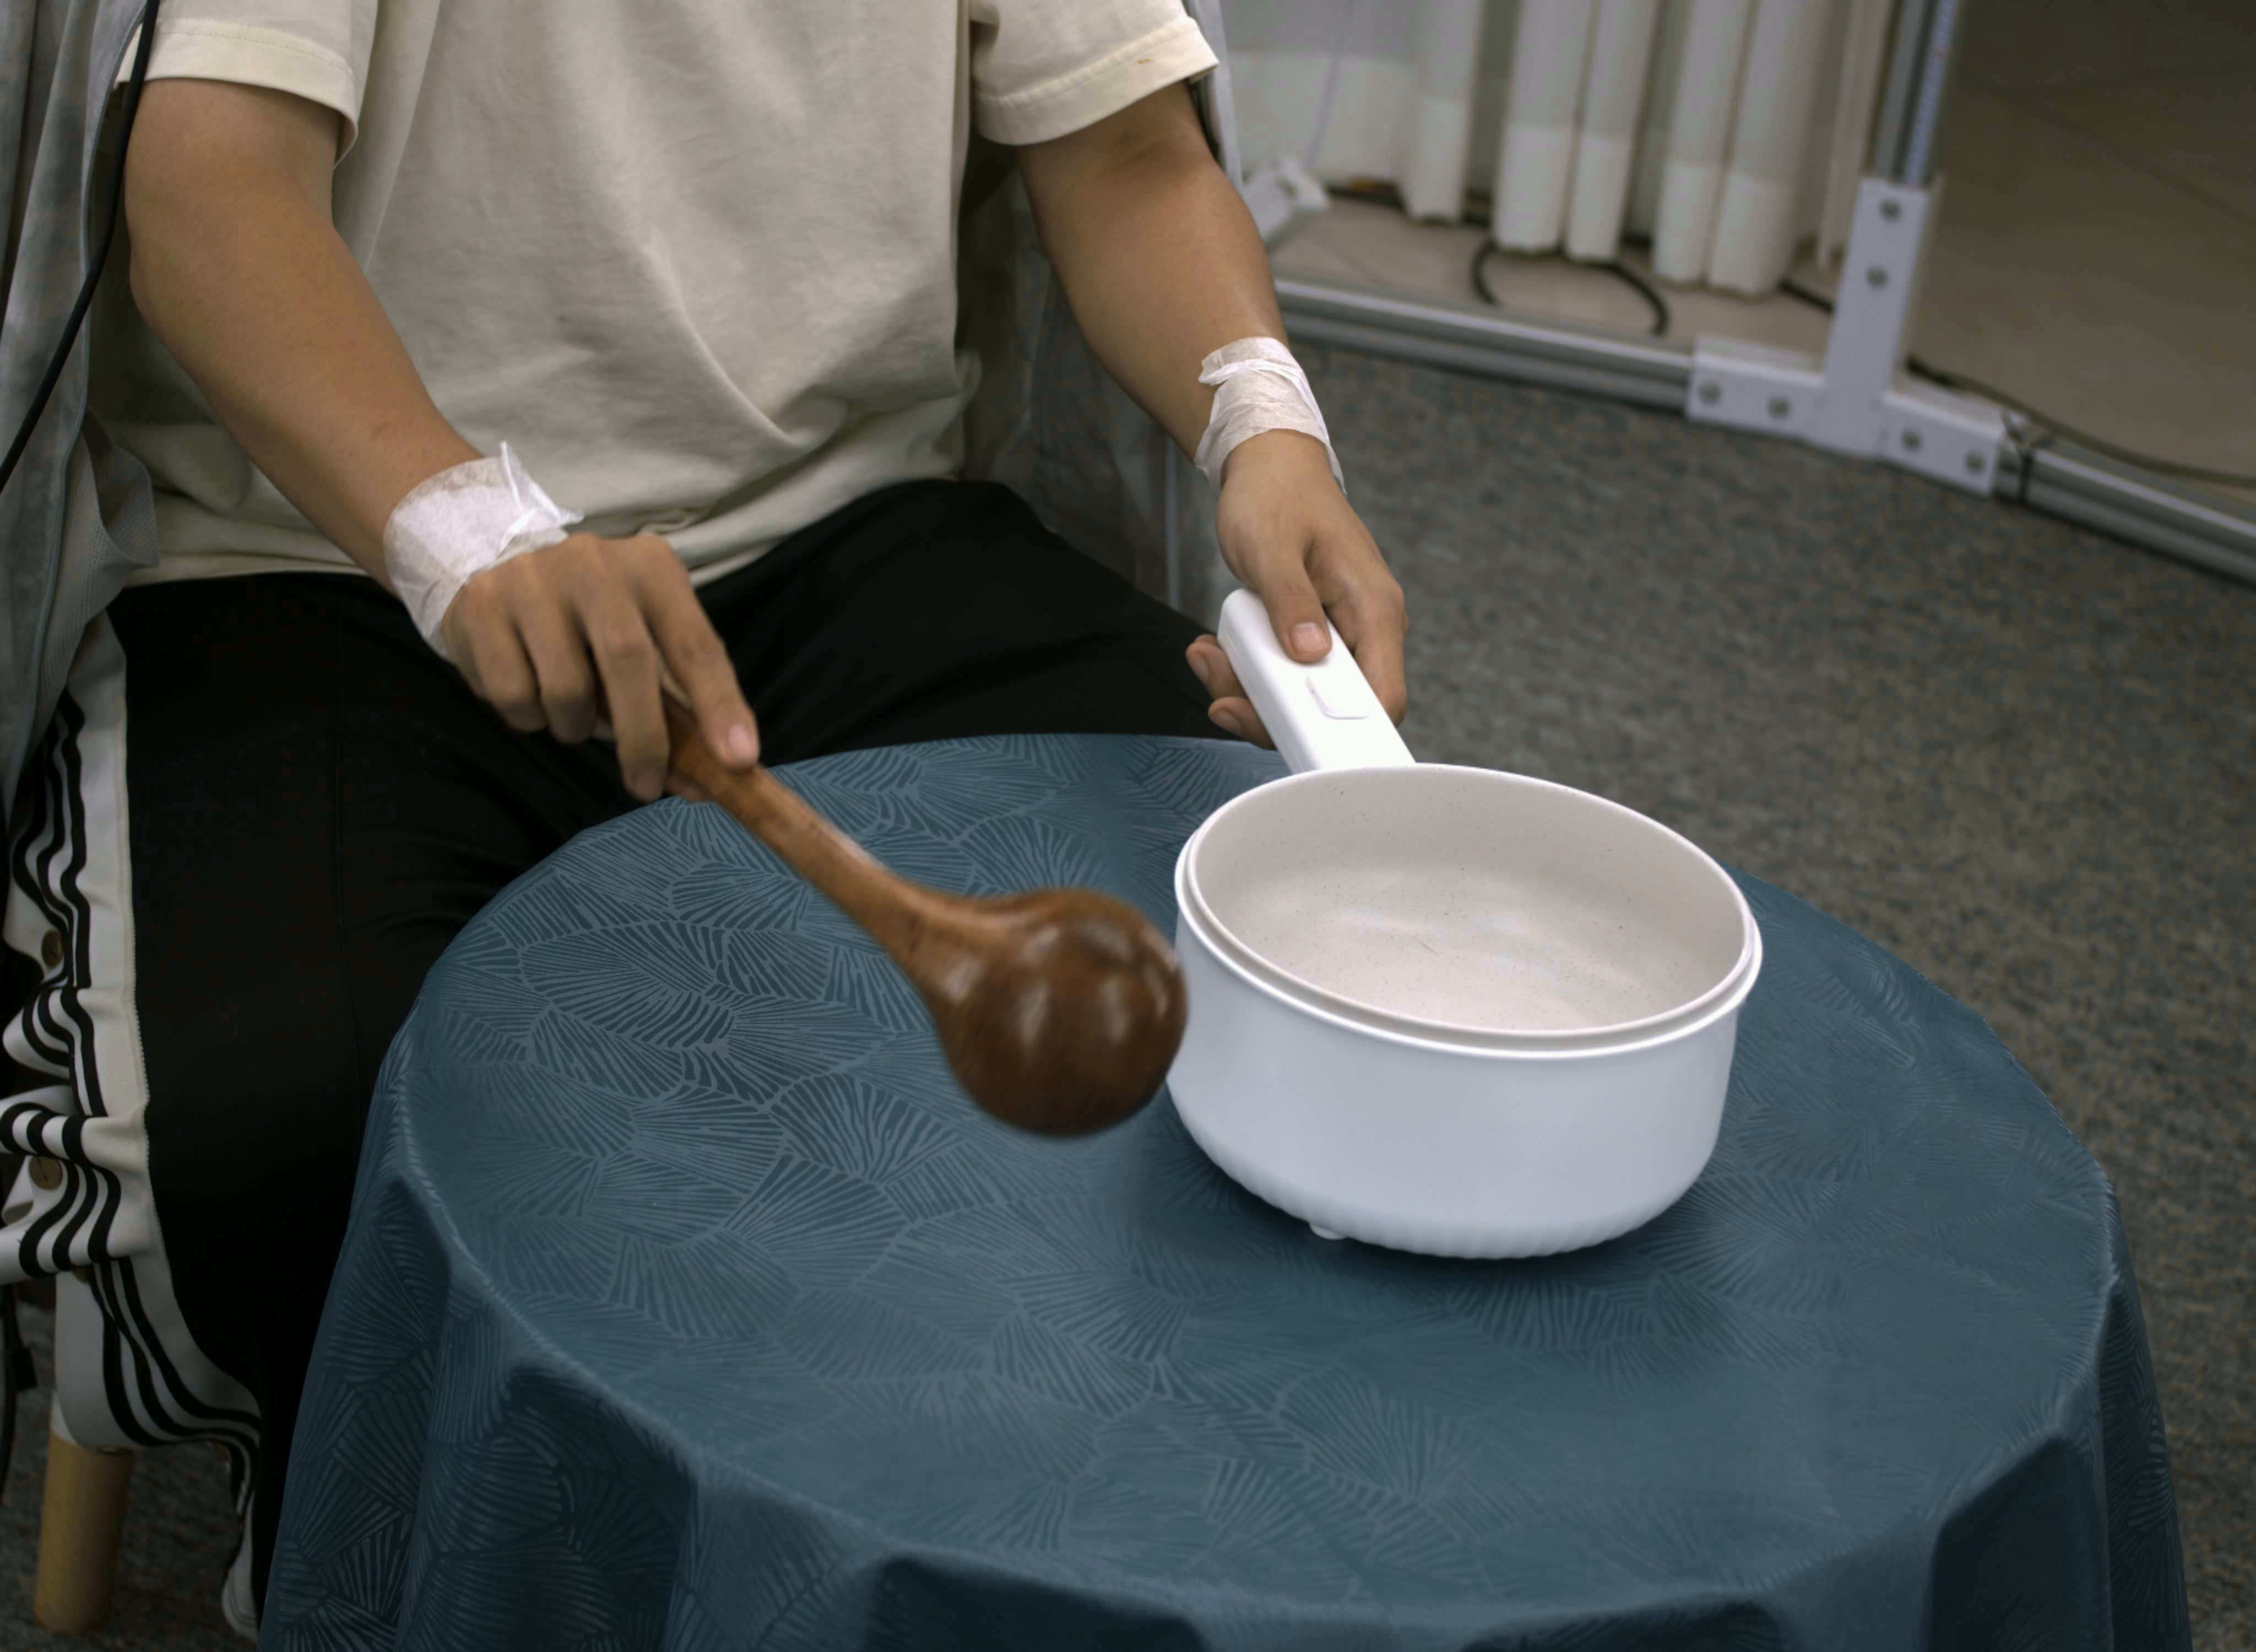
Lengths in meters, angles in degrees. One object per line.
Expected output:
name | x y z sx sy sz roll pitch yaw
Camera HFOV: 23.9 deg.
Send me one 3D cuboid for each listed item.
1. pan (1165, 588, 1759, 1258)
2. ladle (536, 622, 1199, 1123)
pan | 0.093 0.032 1.897 0.200 0.102 0.358 -1 27 -14
ladle | -0.085 0.005 1.731 0.276 0.082 0.076 35 5 39
